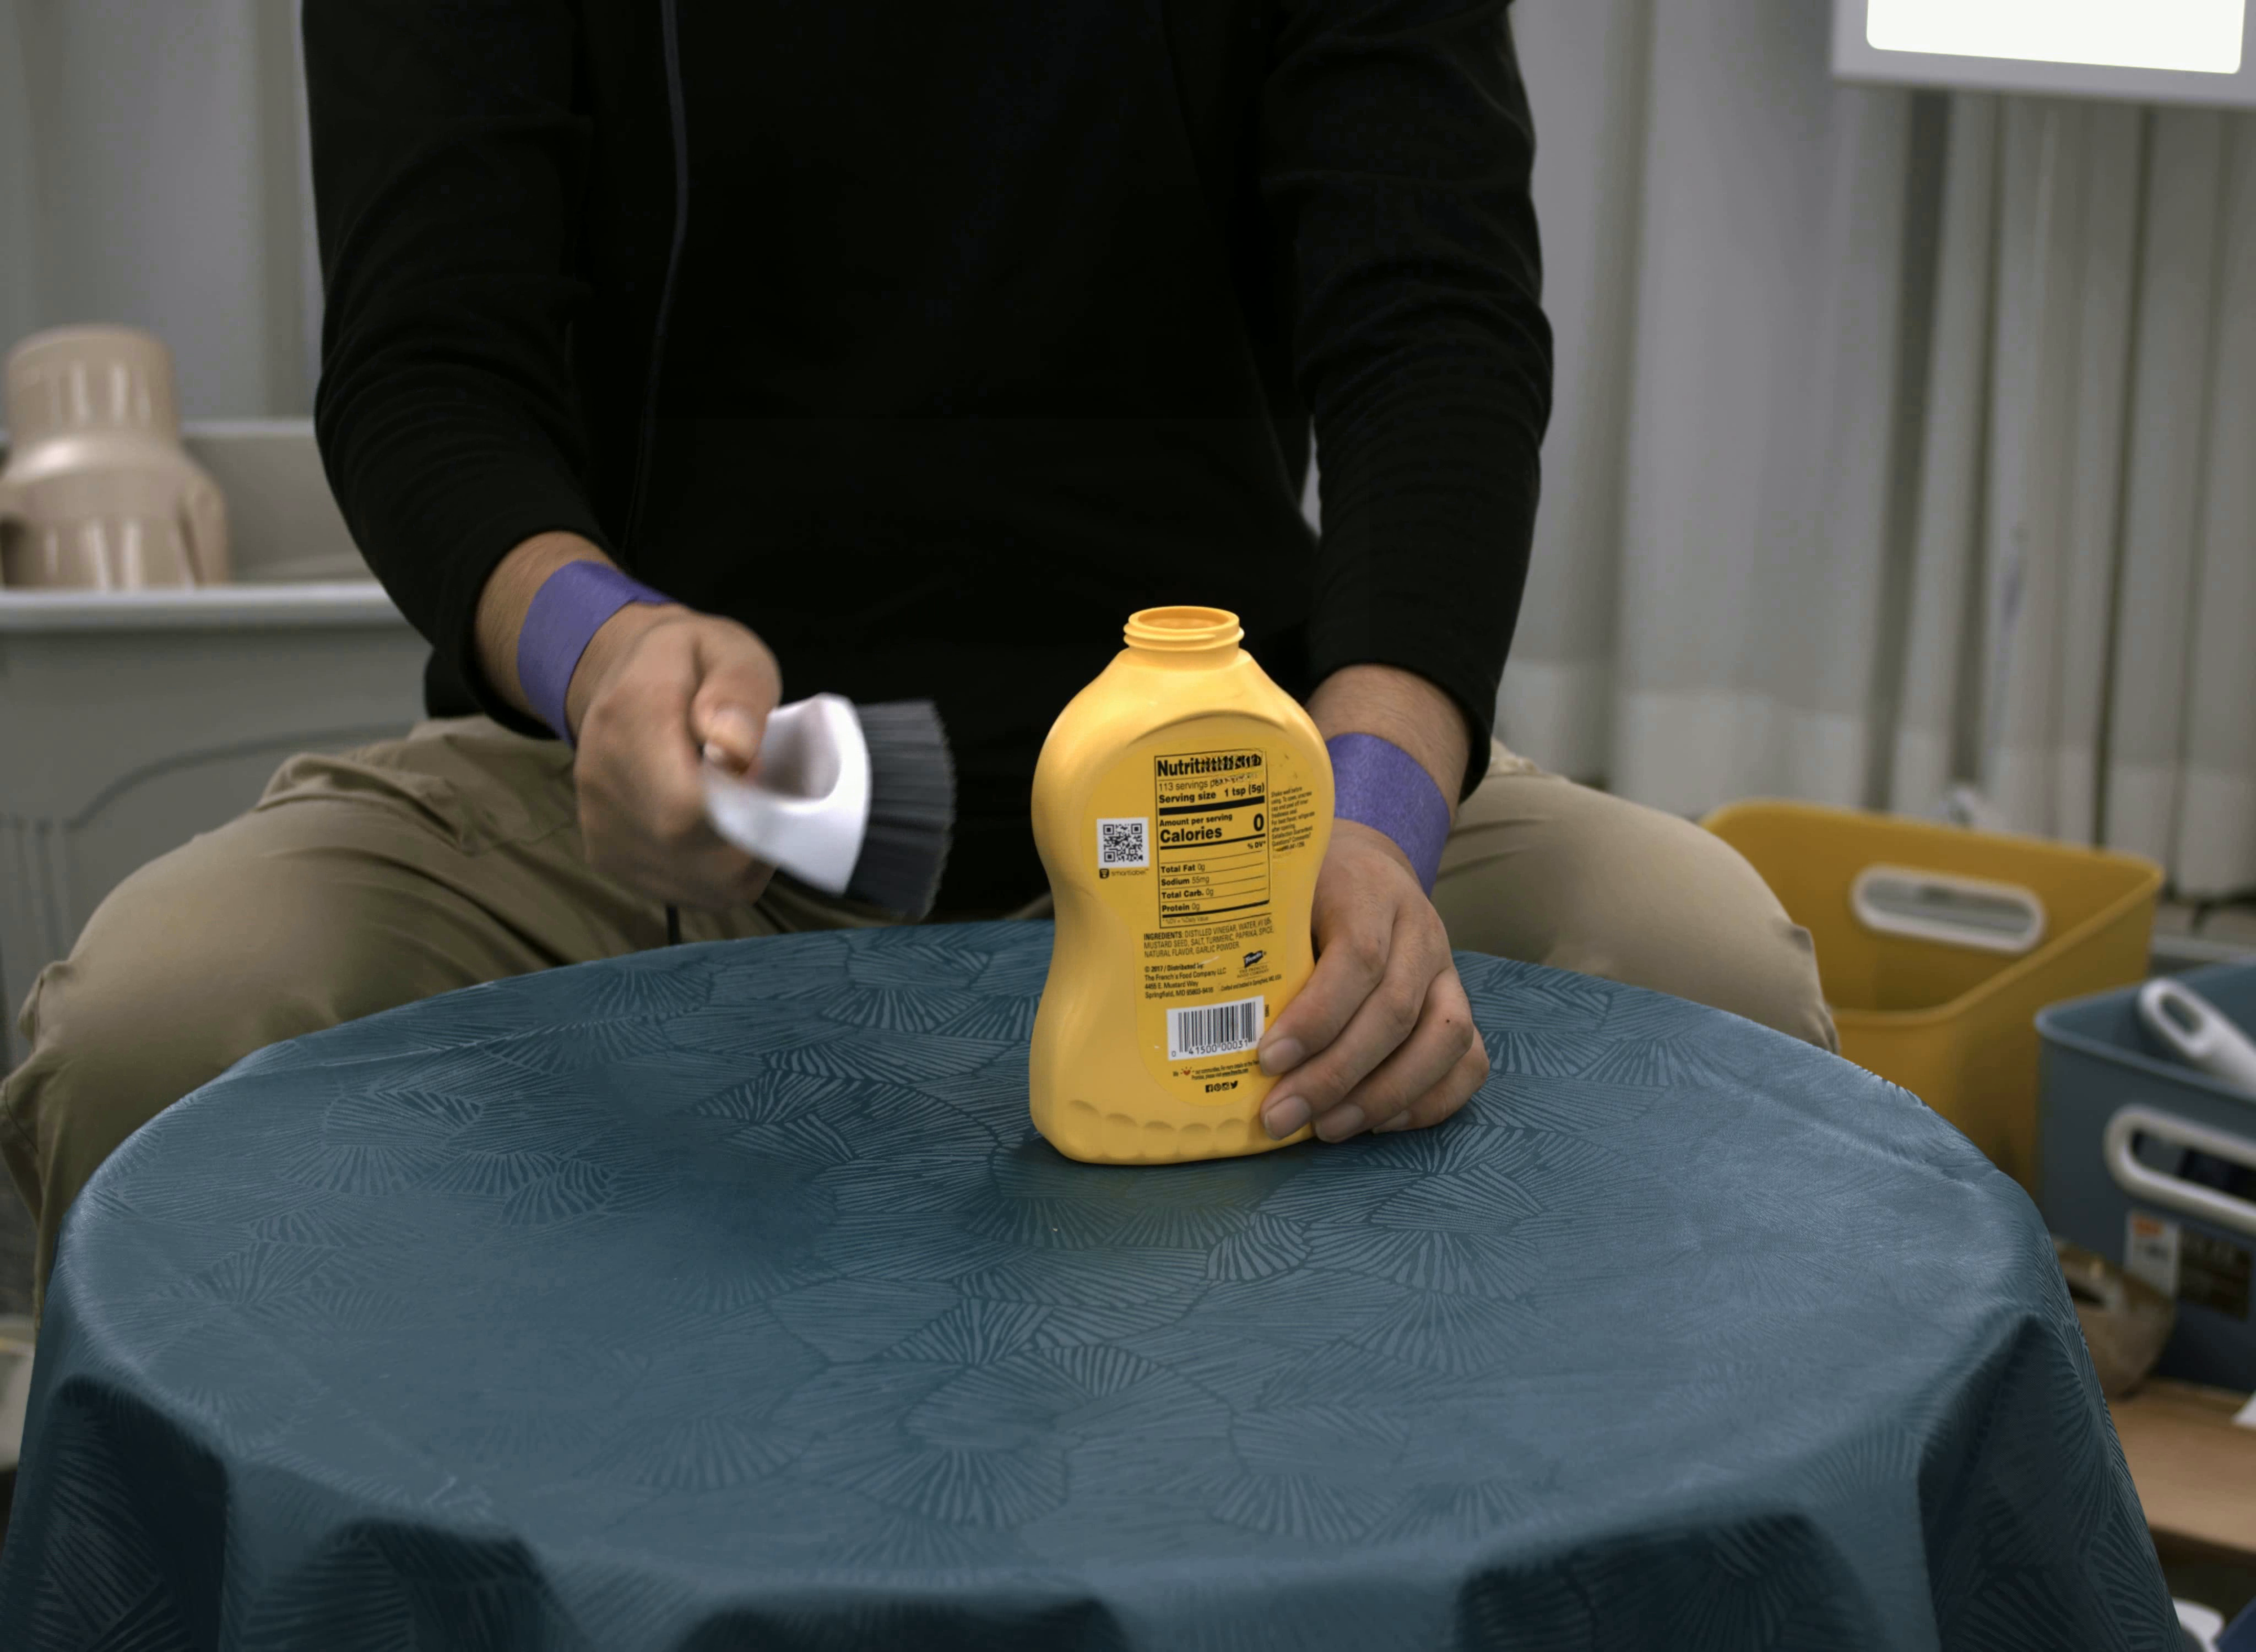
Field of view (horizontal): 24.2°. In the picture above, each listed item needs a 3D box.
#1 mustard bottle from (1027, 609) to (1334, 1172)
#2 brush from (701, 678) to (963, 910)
[{"bbox_3d":[0.015,0.019,1.644,0.098,0.173,0.058,-7,14,-22],"label":"mustard bottle"},{"bbox_3d":[-0.095,-0.014,1.623,0.073,0.050,0.098,11,21,-15],"label":"brush"}]
